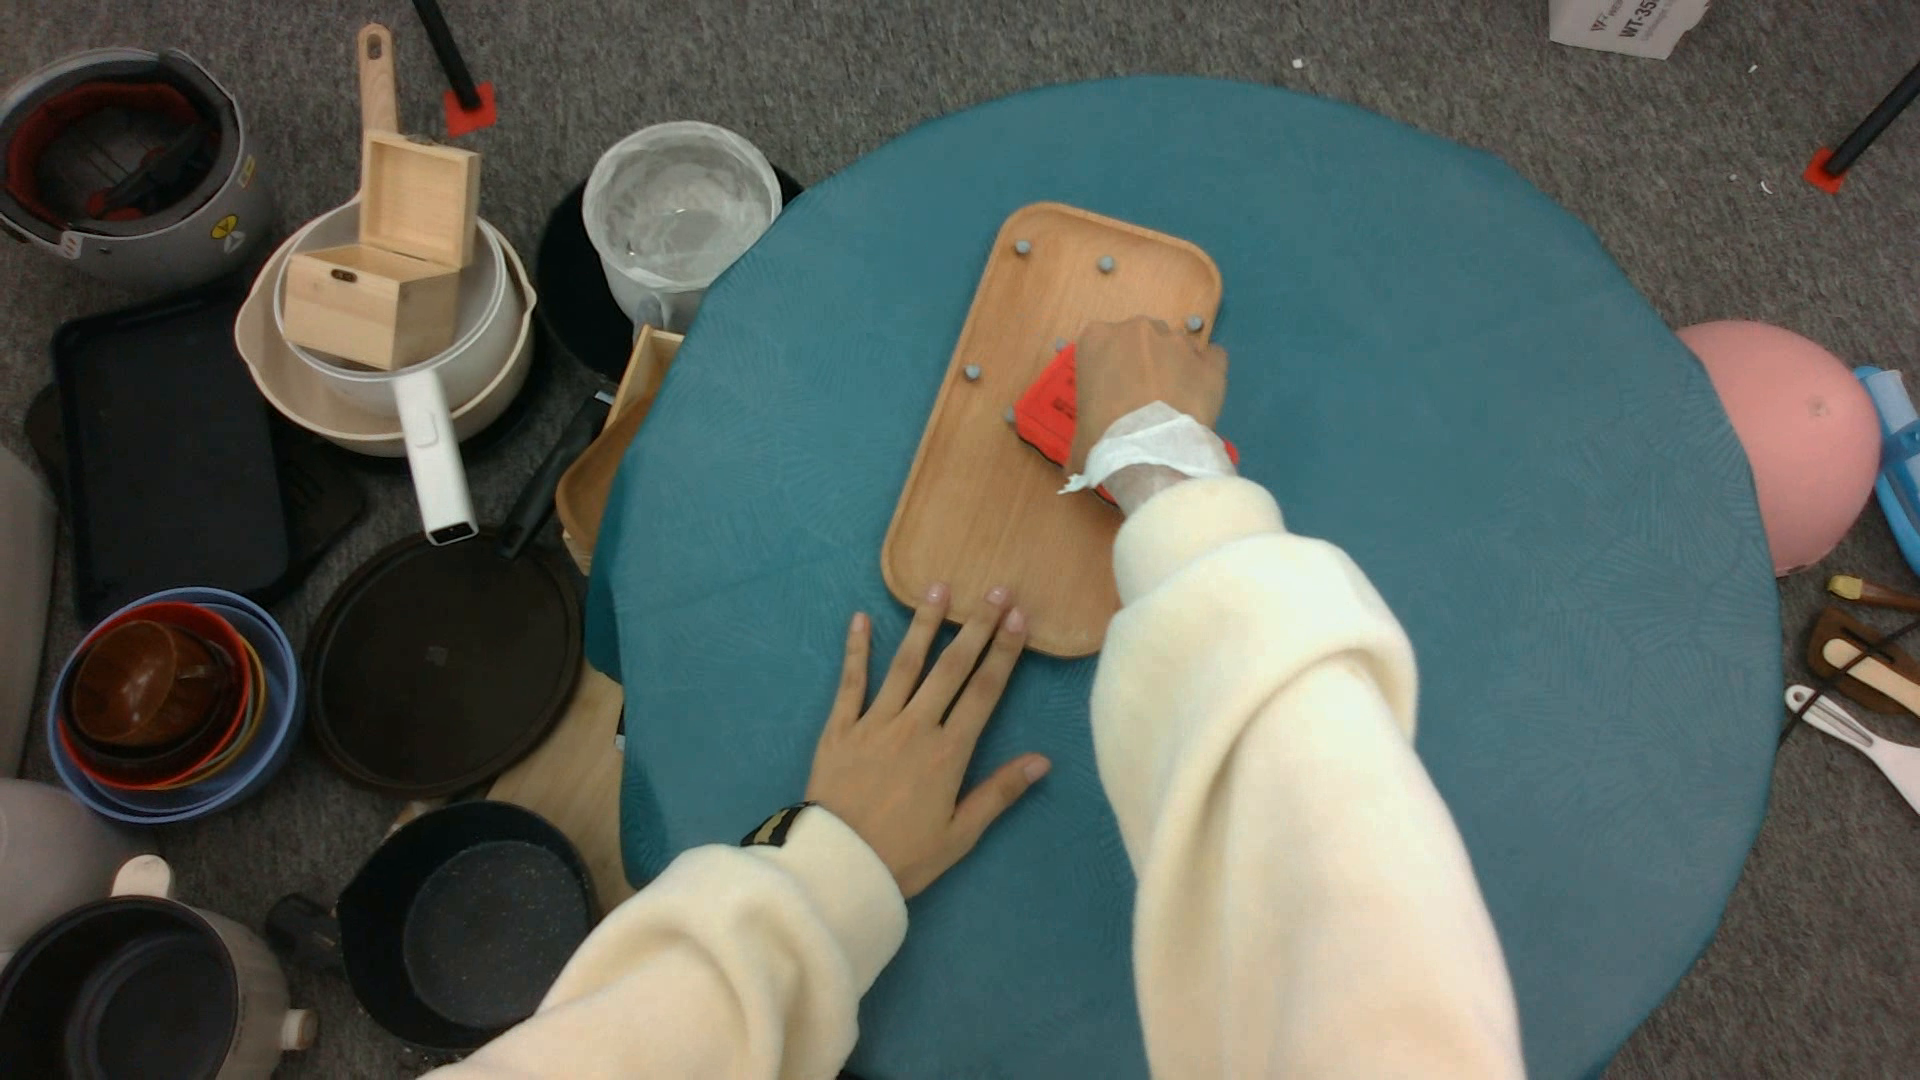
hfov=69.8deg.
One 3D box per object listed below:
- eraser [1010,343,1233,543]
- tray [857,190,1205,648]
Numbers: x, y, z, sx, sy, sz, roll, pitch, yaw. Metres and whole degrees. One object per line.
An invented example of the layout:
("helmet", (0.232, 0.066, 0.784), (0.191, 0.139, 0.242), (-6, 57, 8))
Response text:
("eraser", (0.081, -0.051, 0.701), (0.108, 0.023, 0.059), (37, 73, 16))
("tray", (0.041, -0.069, 0.722), (0.130, 0.023, 0.251), (18, 70, 6))
